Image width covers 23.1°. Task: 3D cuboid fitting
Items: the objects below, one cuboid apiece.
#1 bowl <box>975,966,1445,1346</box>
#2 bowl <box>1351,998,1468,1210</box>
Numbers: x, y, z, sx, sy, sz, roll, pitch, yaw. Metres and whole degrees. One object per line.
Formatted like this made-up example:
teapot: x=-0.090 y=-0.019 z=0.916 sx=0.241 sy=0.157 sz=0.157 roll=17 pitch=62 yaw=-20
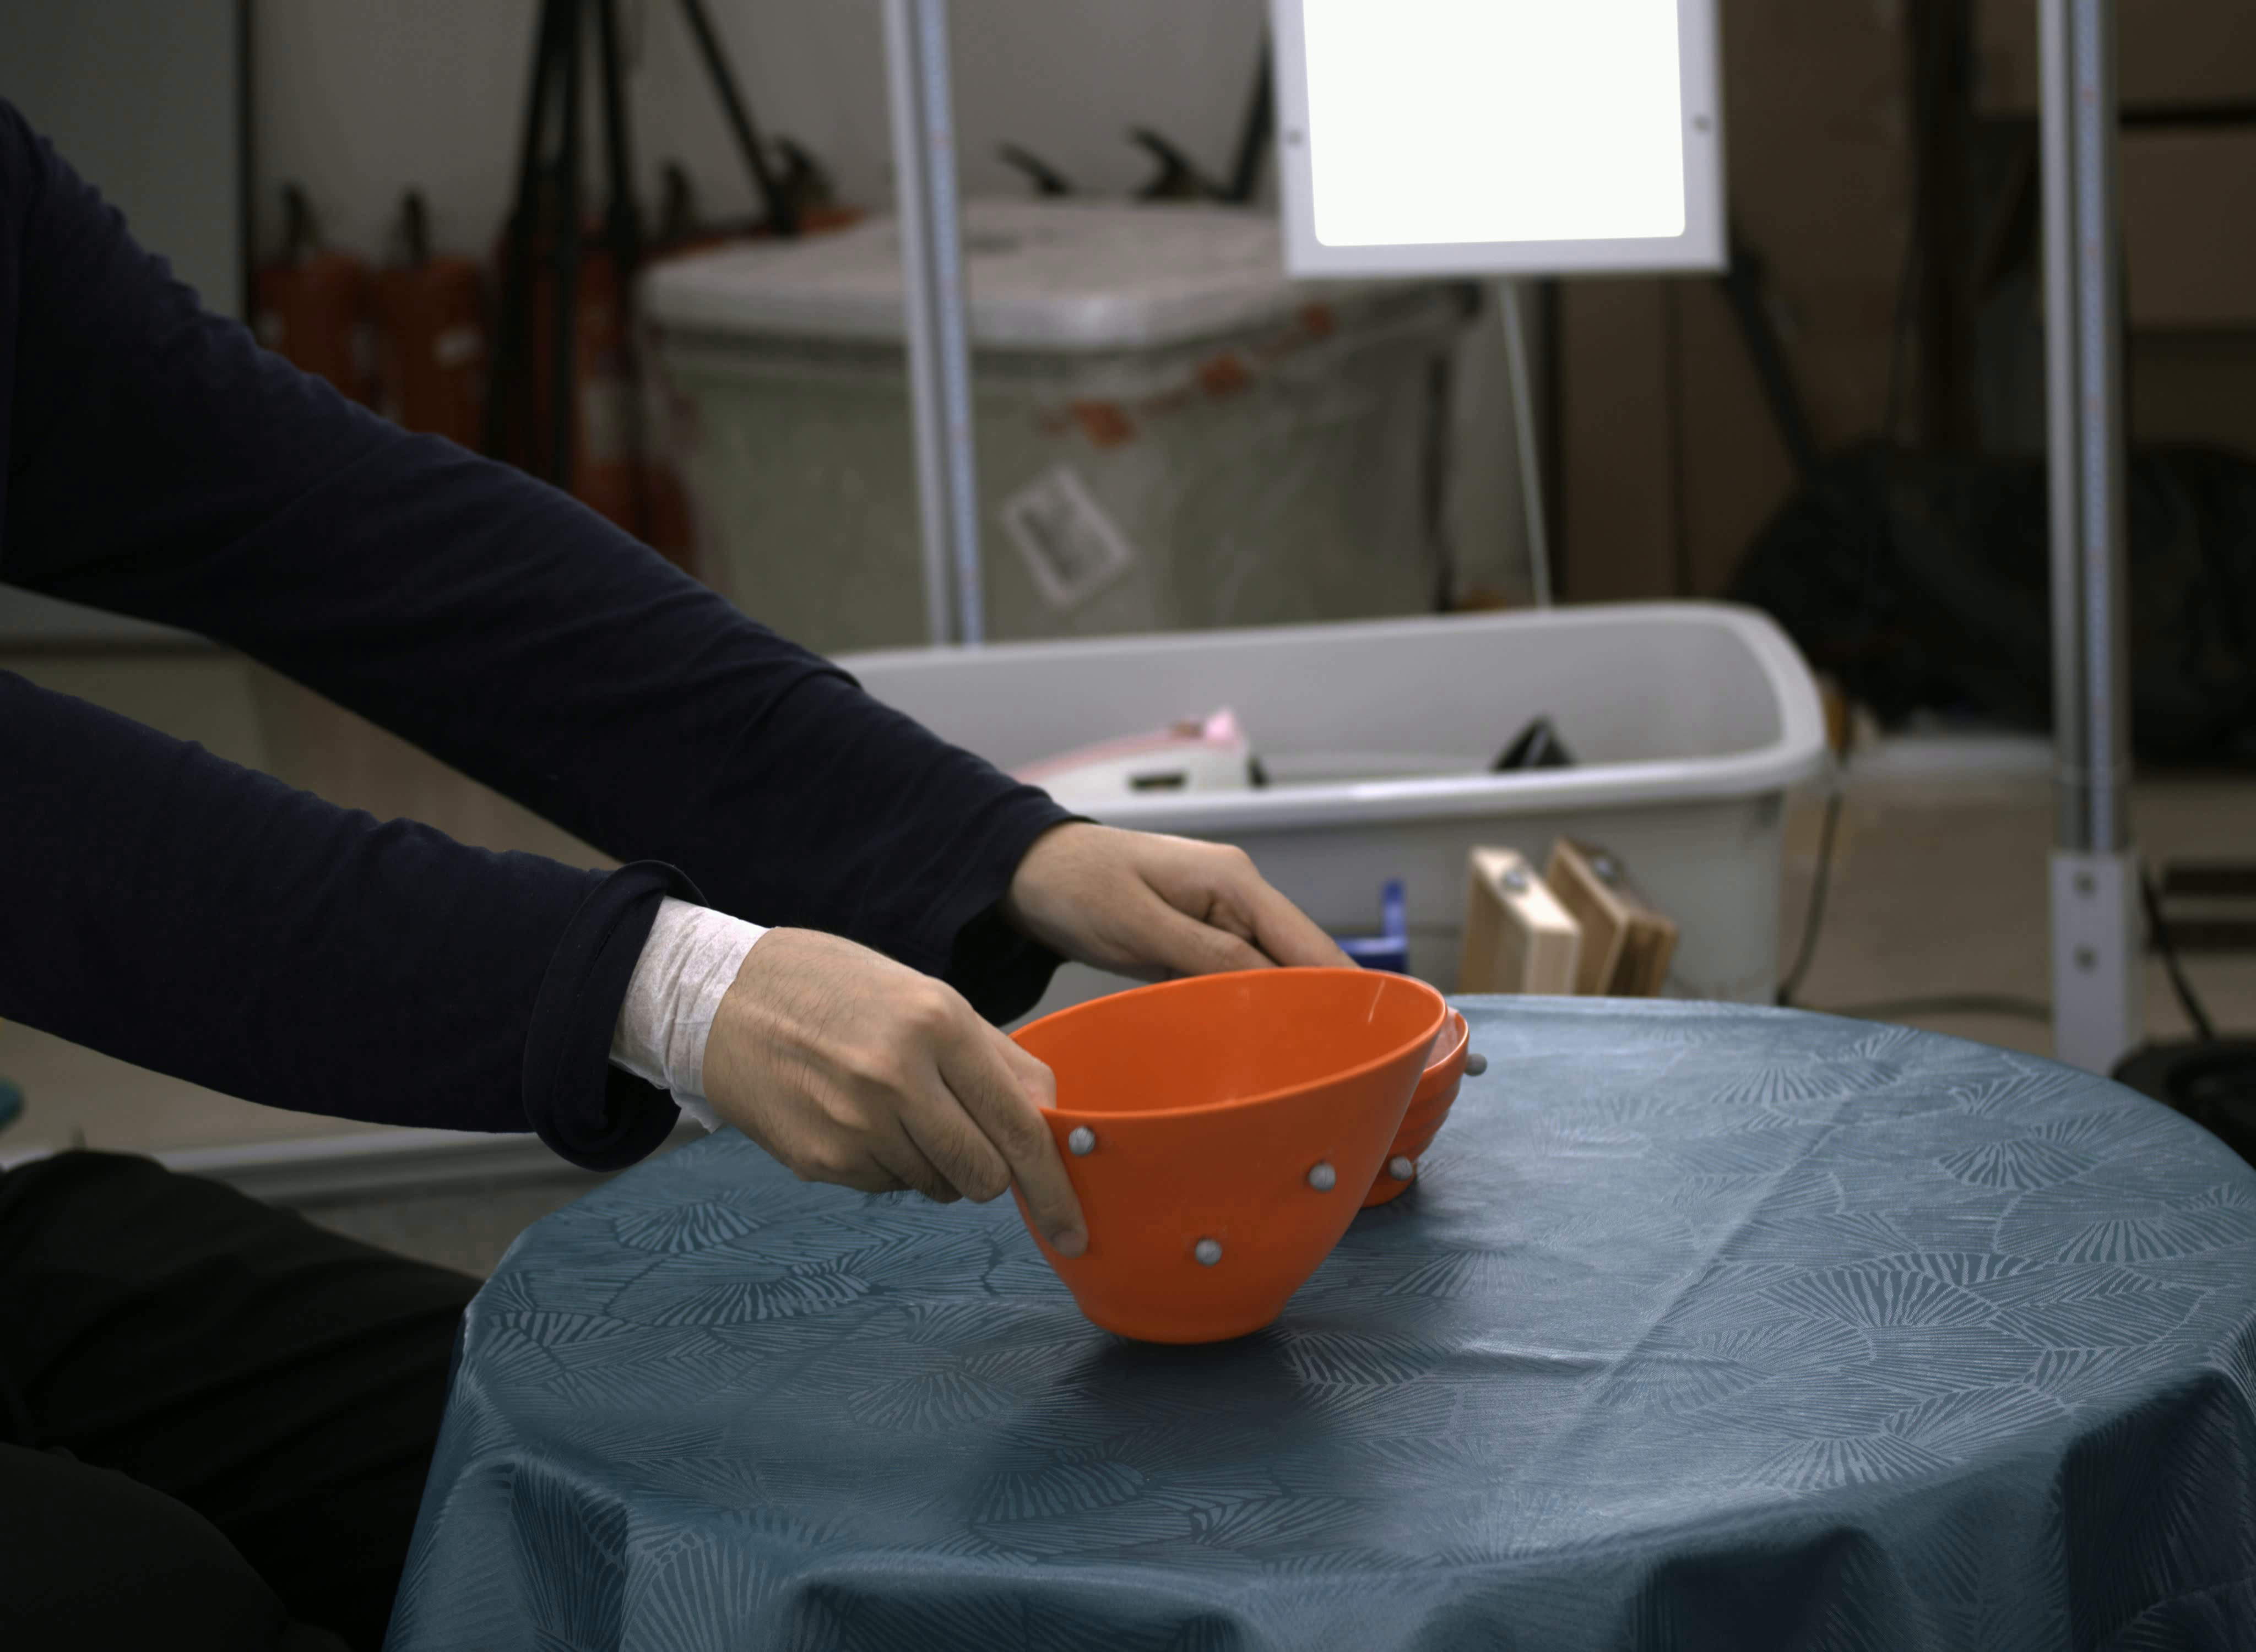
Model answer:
bowl: x=0.027 y=0.104 z=1.723 sx=0.147 sy=0.105 sz=0.148 roll=-3 pitch=19 yaw=0
bowl: x=0.063 y=0.098 z=1.891 sx=0.118 sy=0.051 sz=0.119 roll=-6 pitch=15 yaw=0
